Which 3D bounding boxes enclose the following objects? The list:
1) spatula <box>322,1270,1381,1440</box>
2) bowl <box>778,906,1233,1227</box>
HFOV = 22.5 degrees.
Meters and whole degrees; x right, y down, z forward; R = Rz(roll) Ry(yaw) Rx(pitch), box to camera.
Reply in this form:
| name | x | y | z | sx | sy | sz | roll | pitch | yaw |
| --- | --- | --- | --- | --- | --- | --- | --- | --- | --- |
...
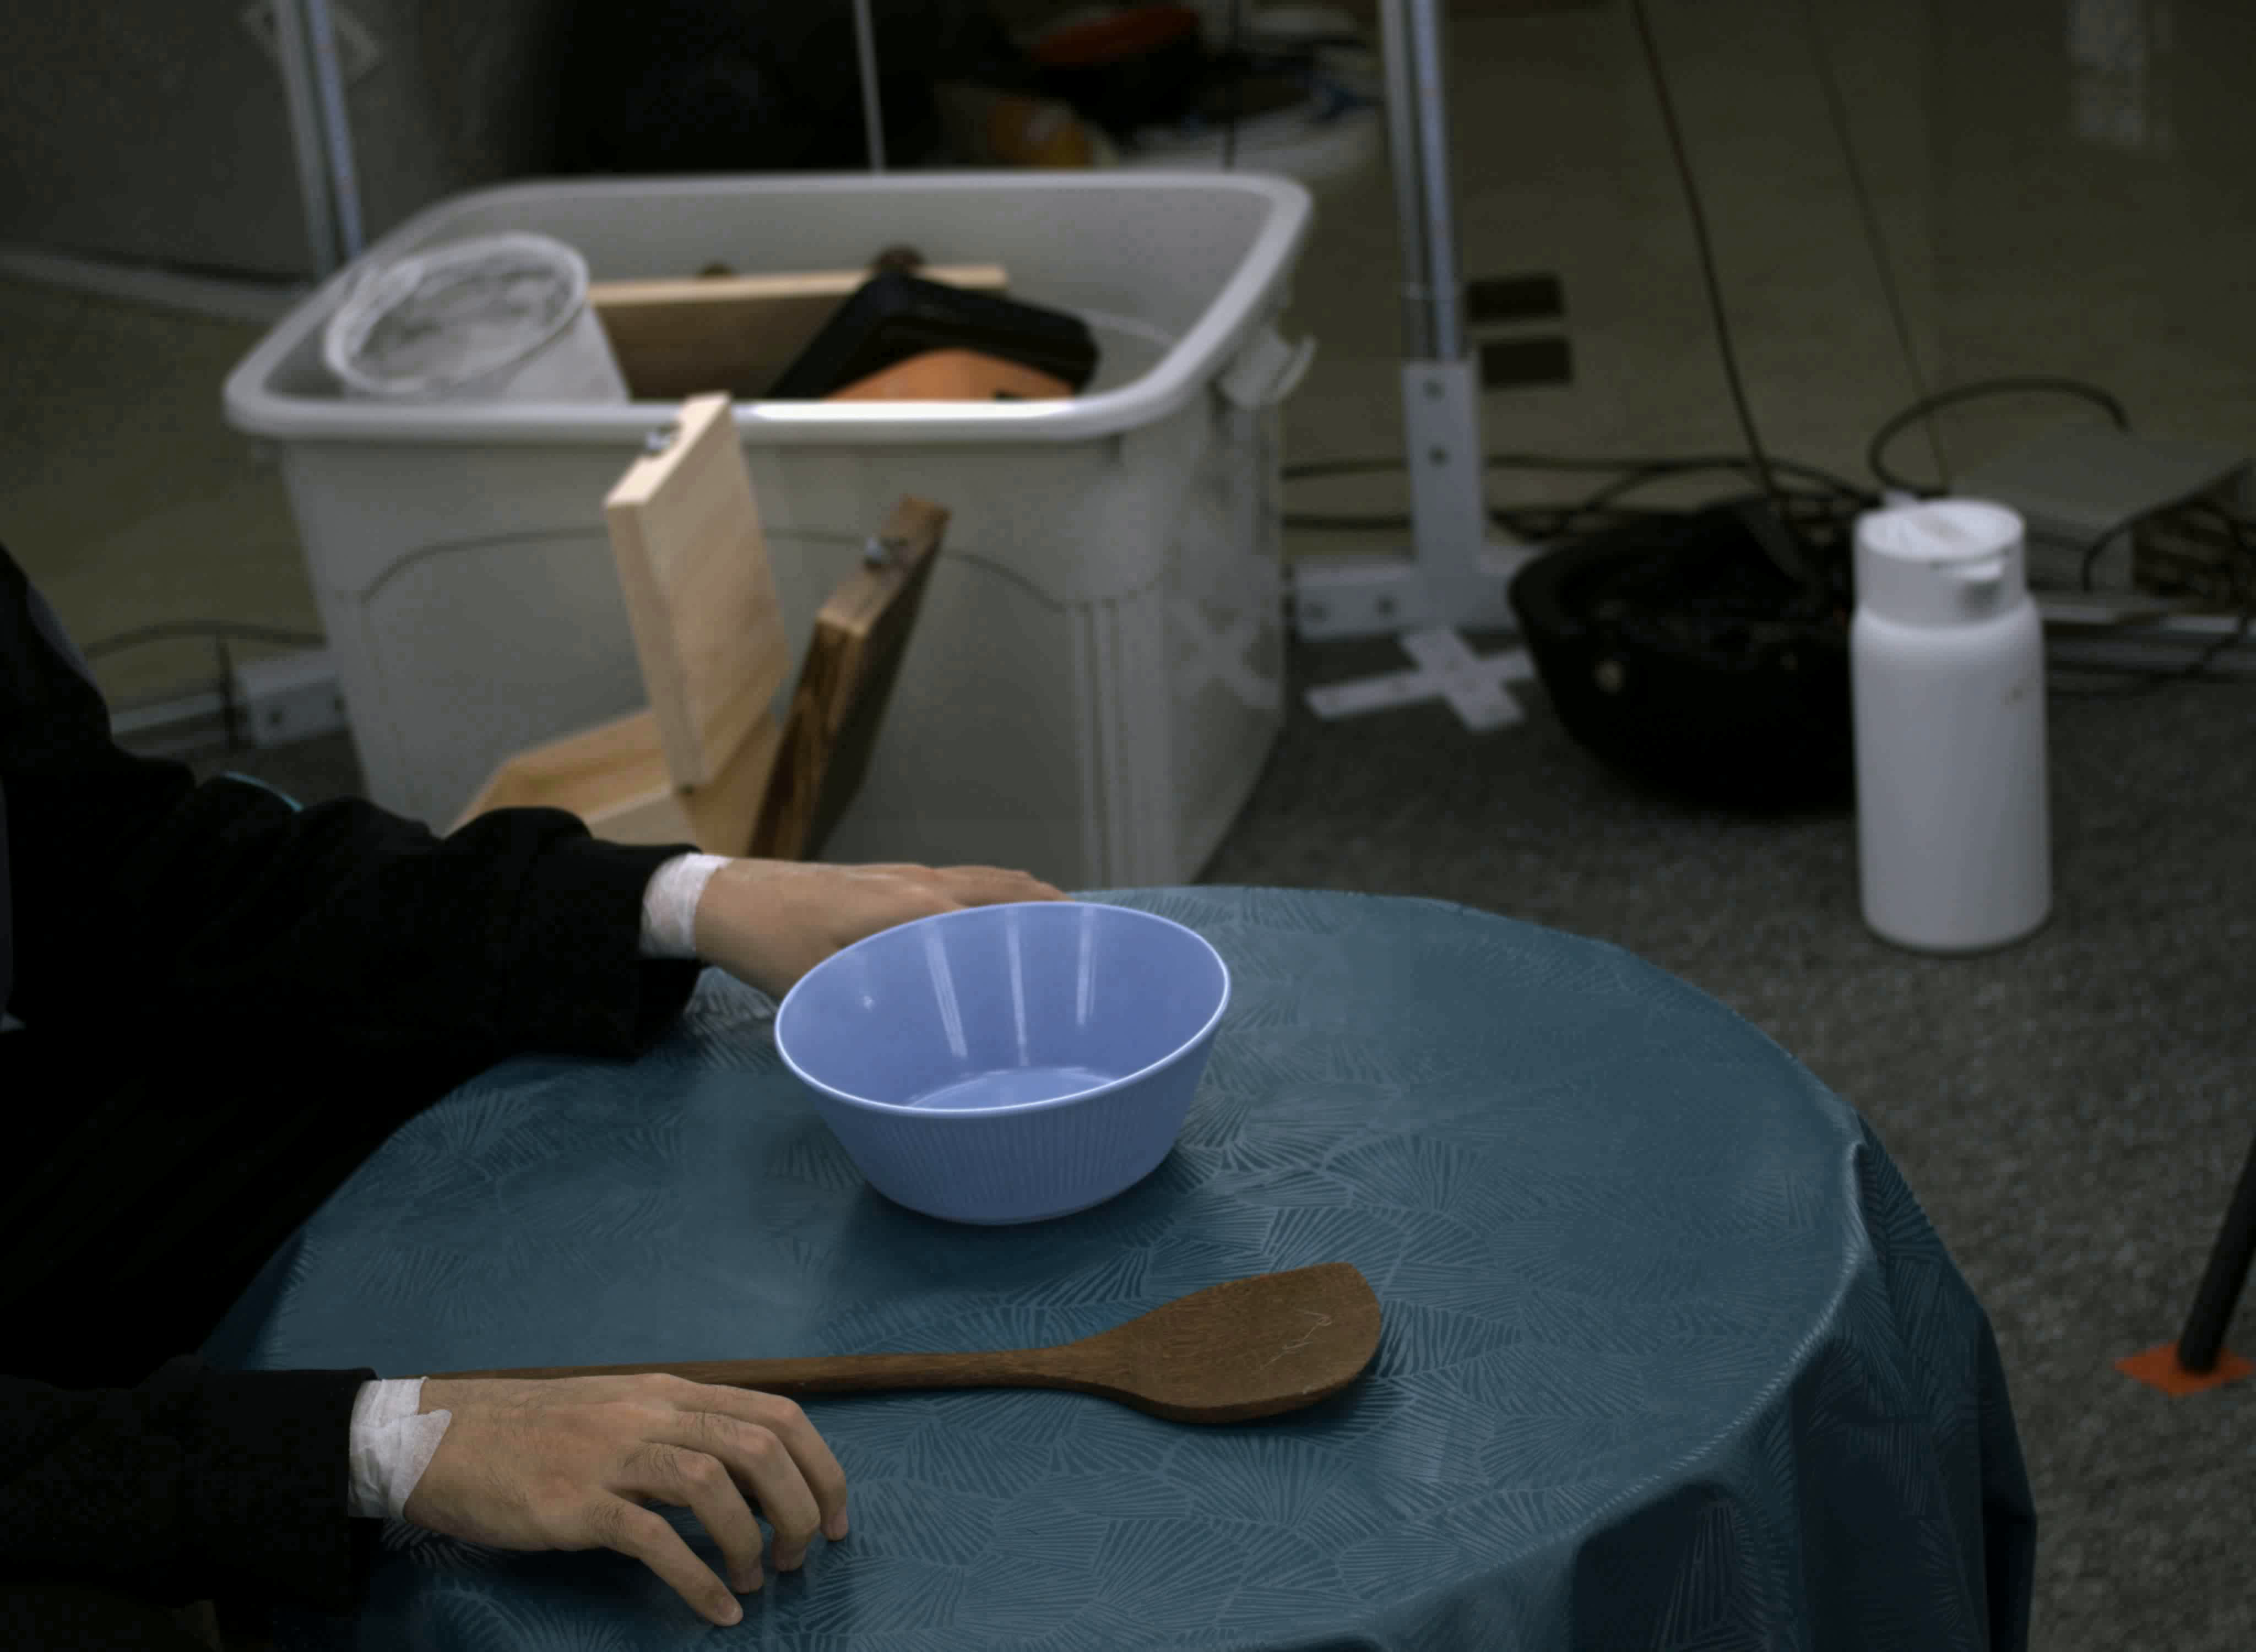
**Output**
| name | x | y | z | sx | sy | sz | roll | pitch | yaw |
| --- | --- | --- | --- | --- | --- | --- | --- | --- | --- |
| spatula | -0.101 | 0.197 | 2.037 | 0.385 | 0.016 | 0.095 | -4 | 24 | 5 |
| bowl | -0.043 | 0.098 | 2.169 | 0.176 | 0.071 | 0.173 | -6 | 25 | 3 |
